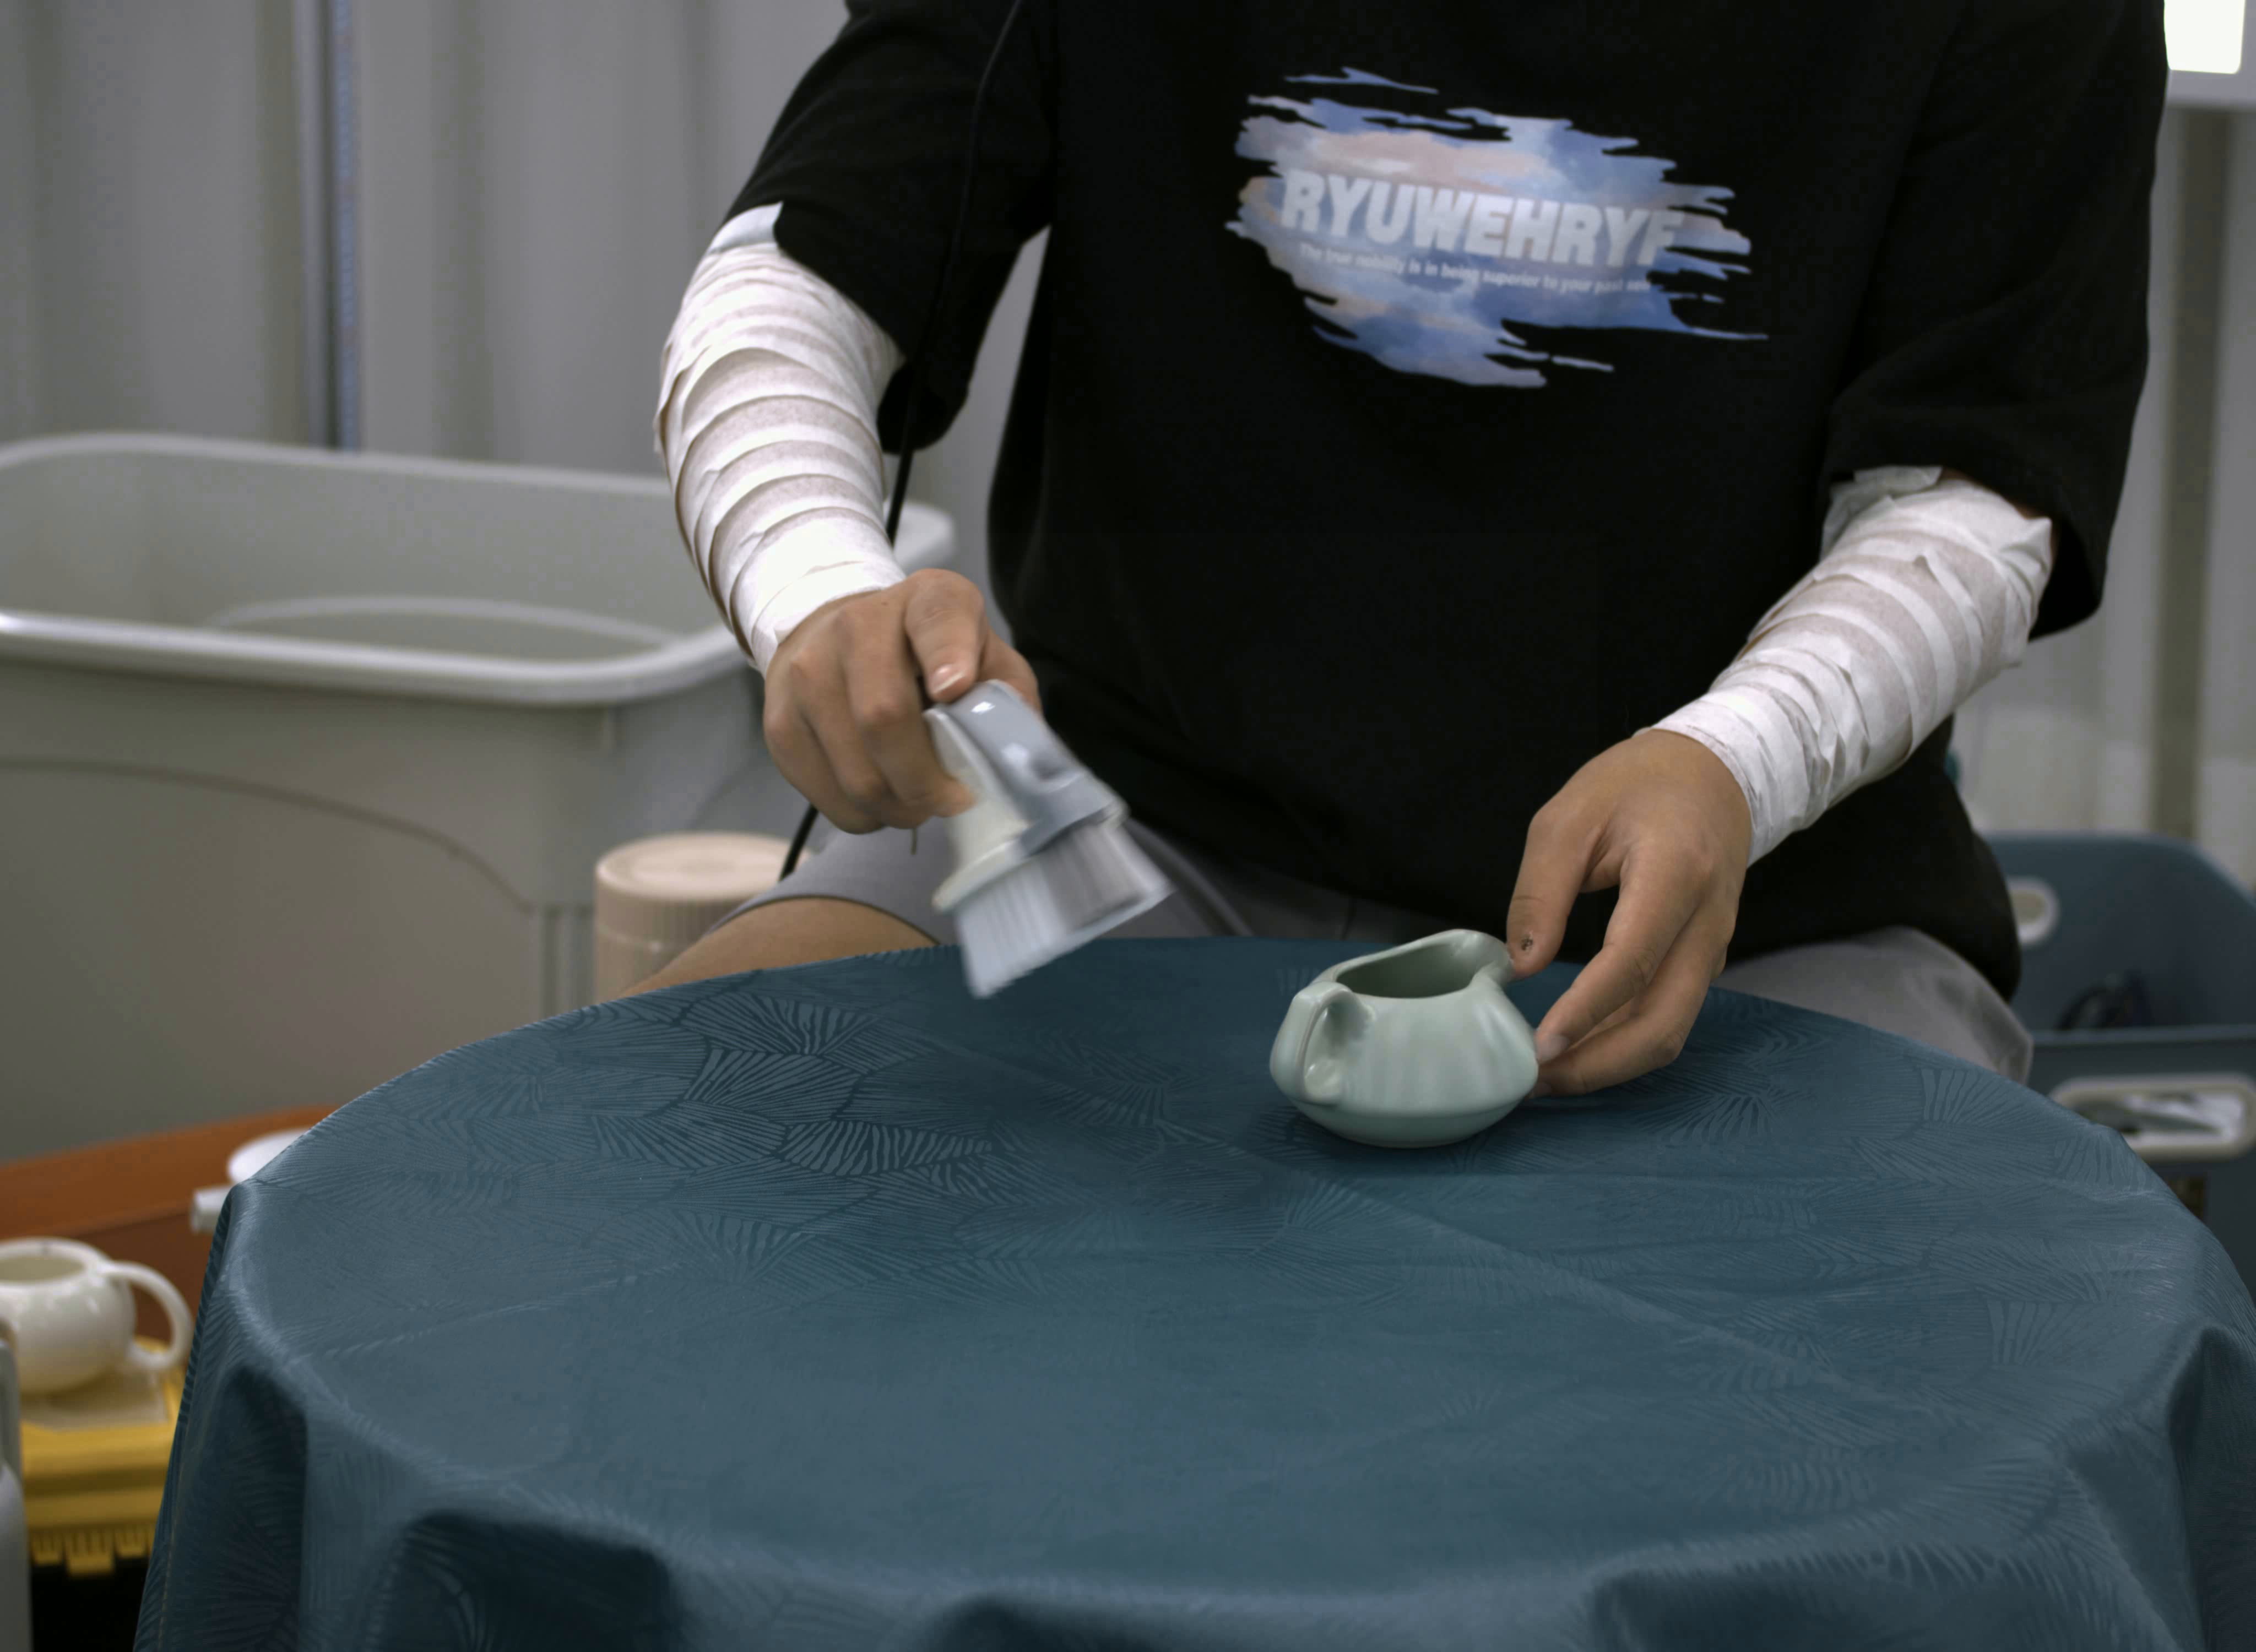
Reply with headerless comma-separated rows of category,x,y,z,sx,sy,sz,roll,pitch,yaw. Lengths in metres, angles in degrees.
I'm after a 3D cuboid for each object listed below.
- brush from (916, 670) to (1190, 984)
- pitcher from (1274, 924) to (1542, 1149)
brush,-0.027,-0.008,1.635,0.061,0.094,0.175,-33,1,-11
pitcher,0.082,0.071,1.671,0.085,0.061,0.108,11,20,33
